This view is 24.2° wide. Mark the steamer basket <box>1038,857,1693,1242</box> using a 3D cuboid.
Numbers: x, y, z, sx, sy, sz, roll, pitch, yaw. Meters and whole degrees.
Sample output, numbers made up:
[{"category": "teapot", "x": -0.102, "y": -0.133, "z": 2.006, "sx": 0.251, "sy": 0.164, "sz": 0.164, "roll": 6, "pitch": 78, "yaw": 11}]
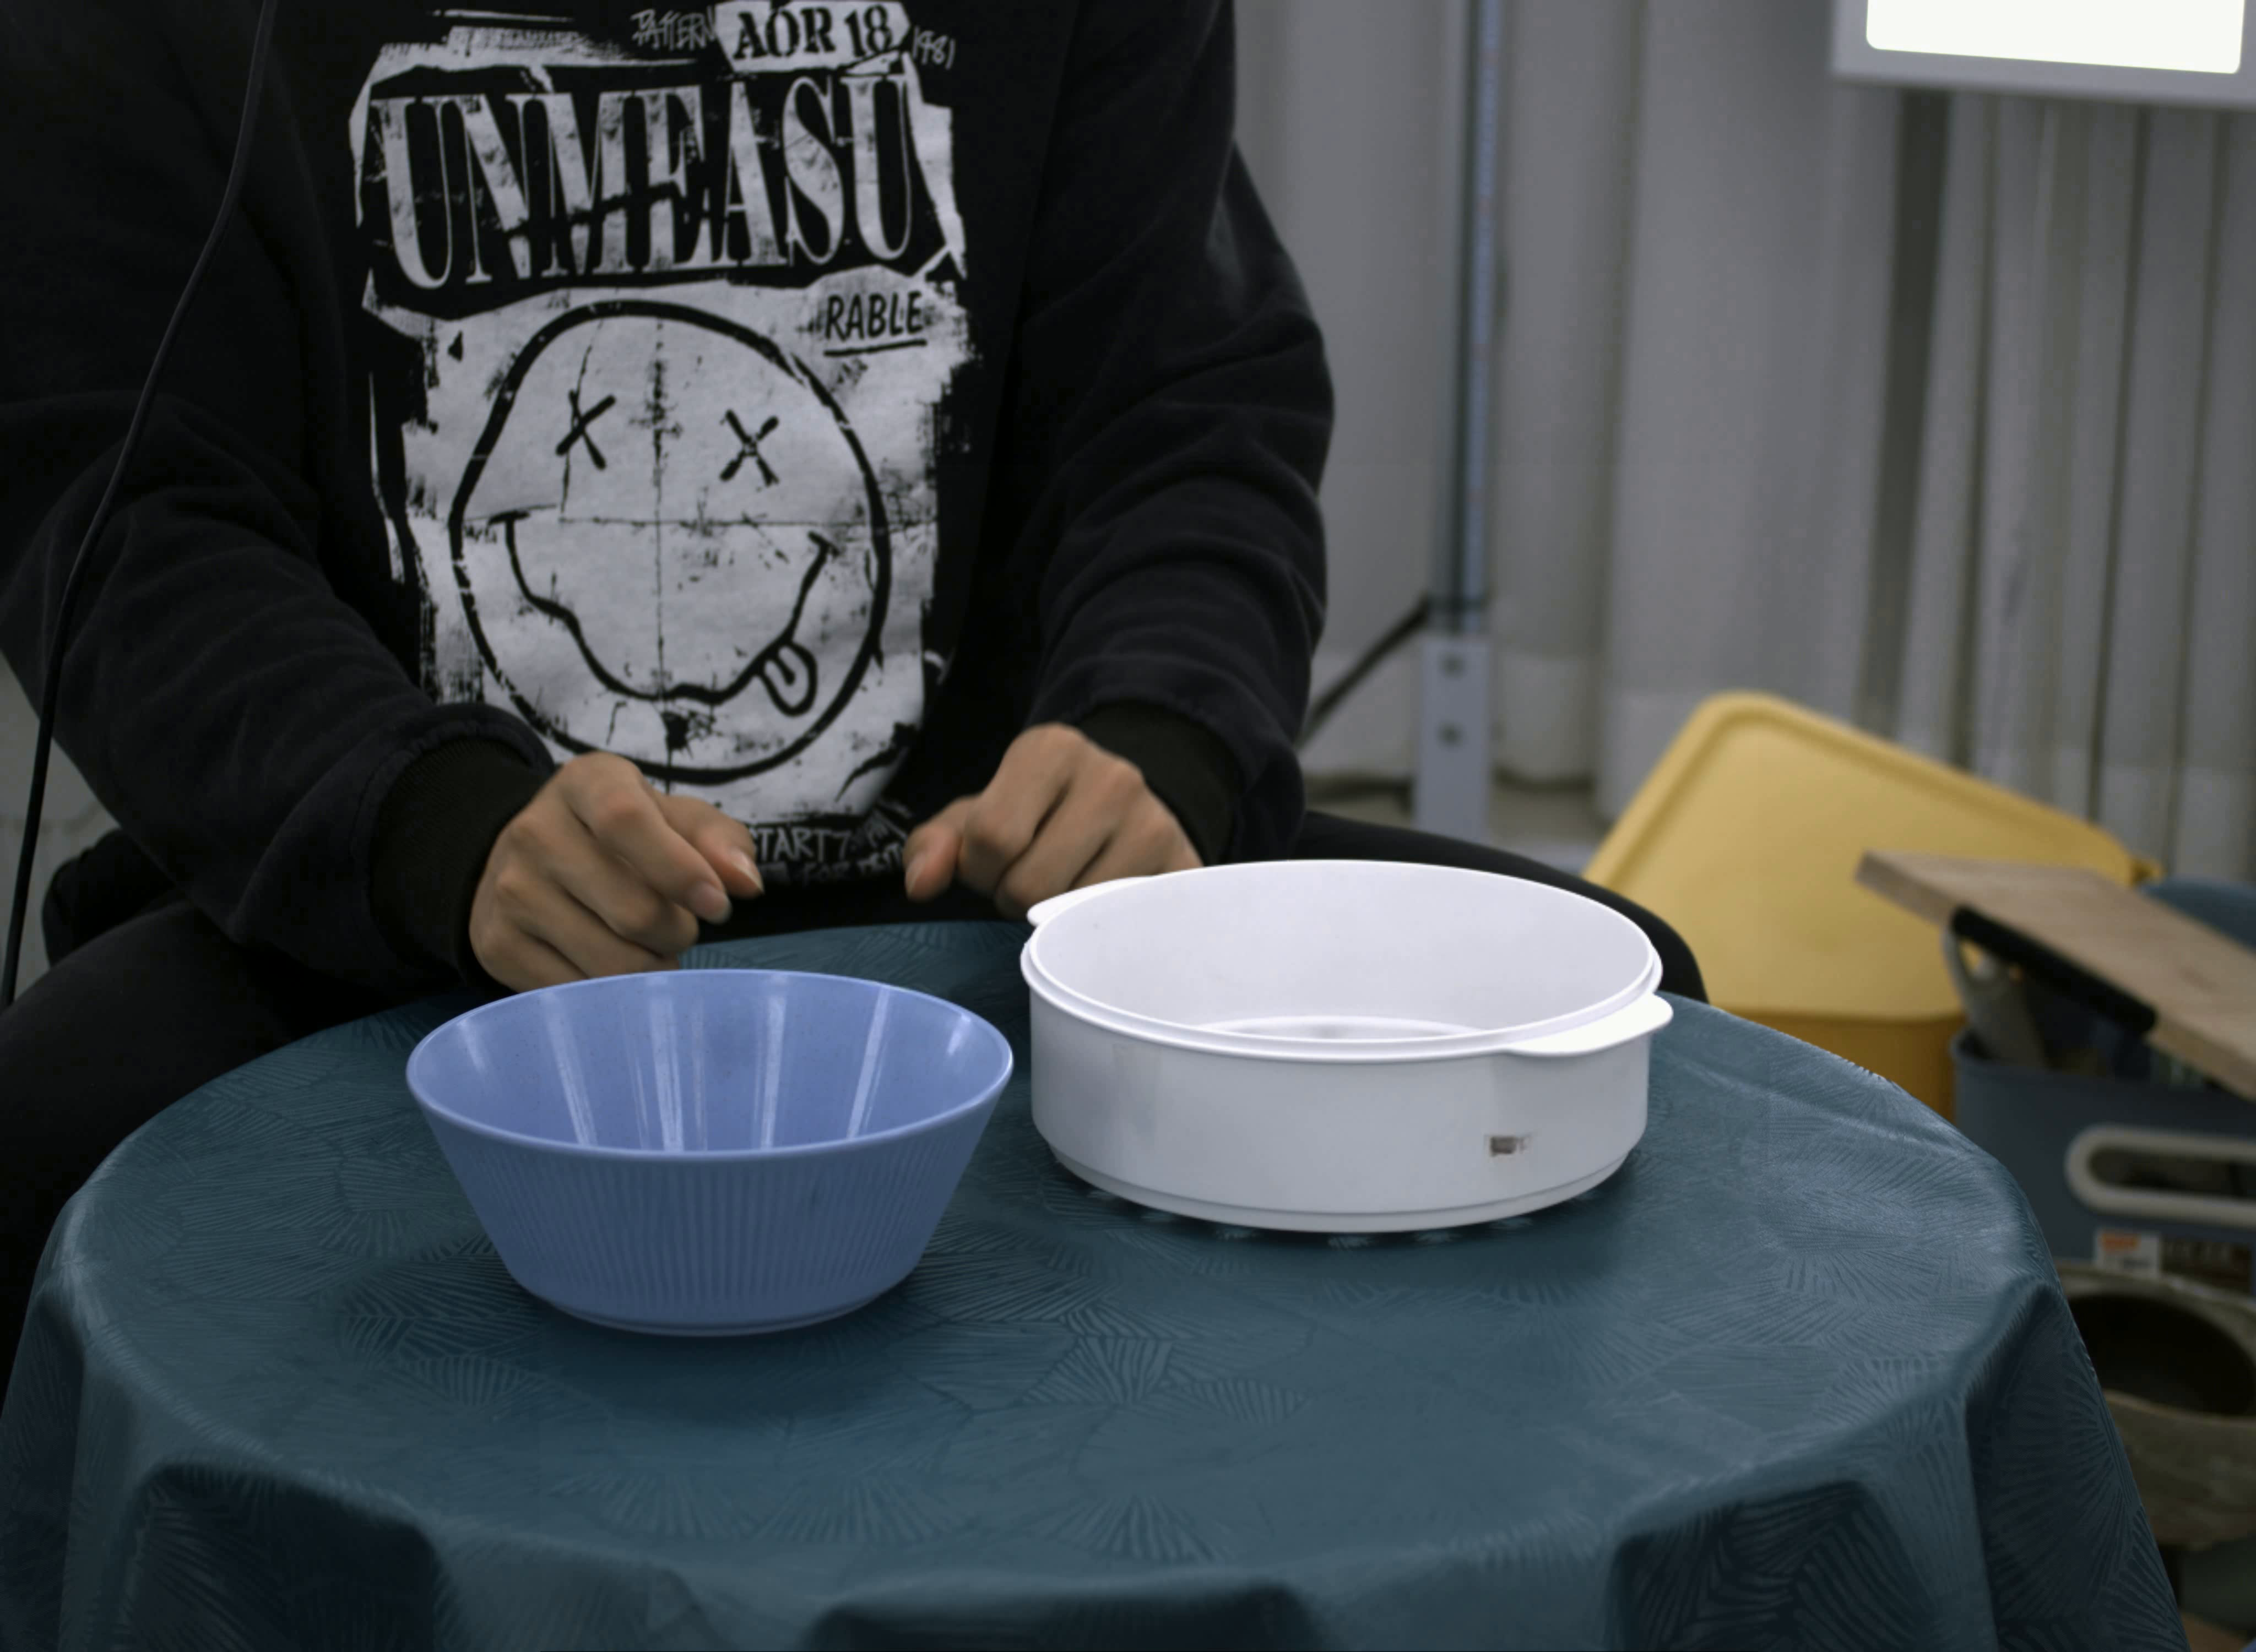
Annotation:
[{"category": "steamer basket", "x": 0.071, "y": 0.070, "z": 1.655, "sx": 0.227, "sy": 0.070, "sz": 0.203, "roll": 16, "pitch": 22, "yaw": 38}]

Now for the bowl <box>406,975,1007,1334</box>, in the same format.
[{"category": "bowl", "x": -0.123, "y": 0.099, "z": 1.541, "sx": 0.175, "sy": 0.071, "sz": 0.175, "roll": 2, "pitch": 15, "yaw": 0}]
